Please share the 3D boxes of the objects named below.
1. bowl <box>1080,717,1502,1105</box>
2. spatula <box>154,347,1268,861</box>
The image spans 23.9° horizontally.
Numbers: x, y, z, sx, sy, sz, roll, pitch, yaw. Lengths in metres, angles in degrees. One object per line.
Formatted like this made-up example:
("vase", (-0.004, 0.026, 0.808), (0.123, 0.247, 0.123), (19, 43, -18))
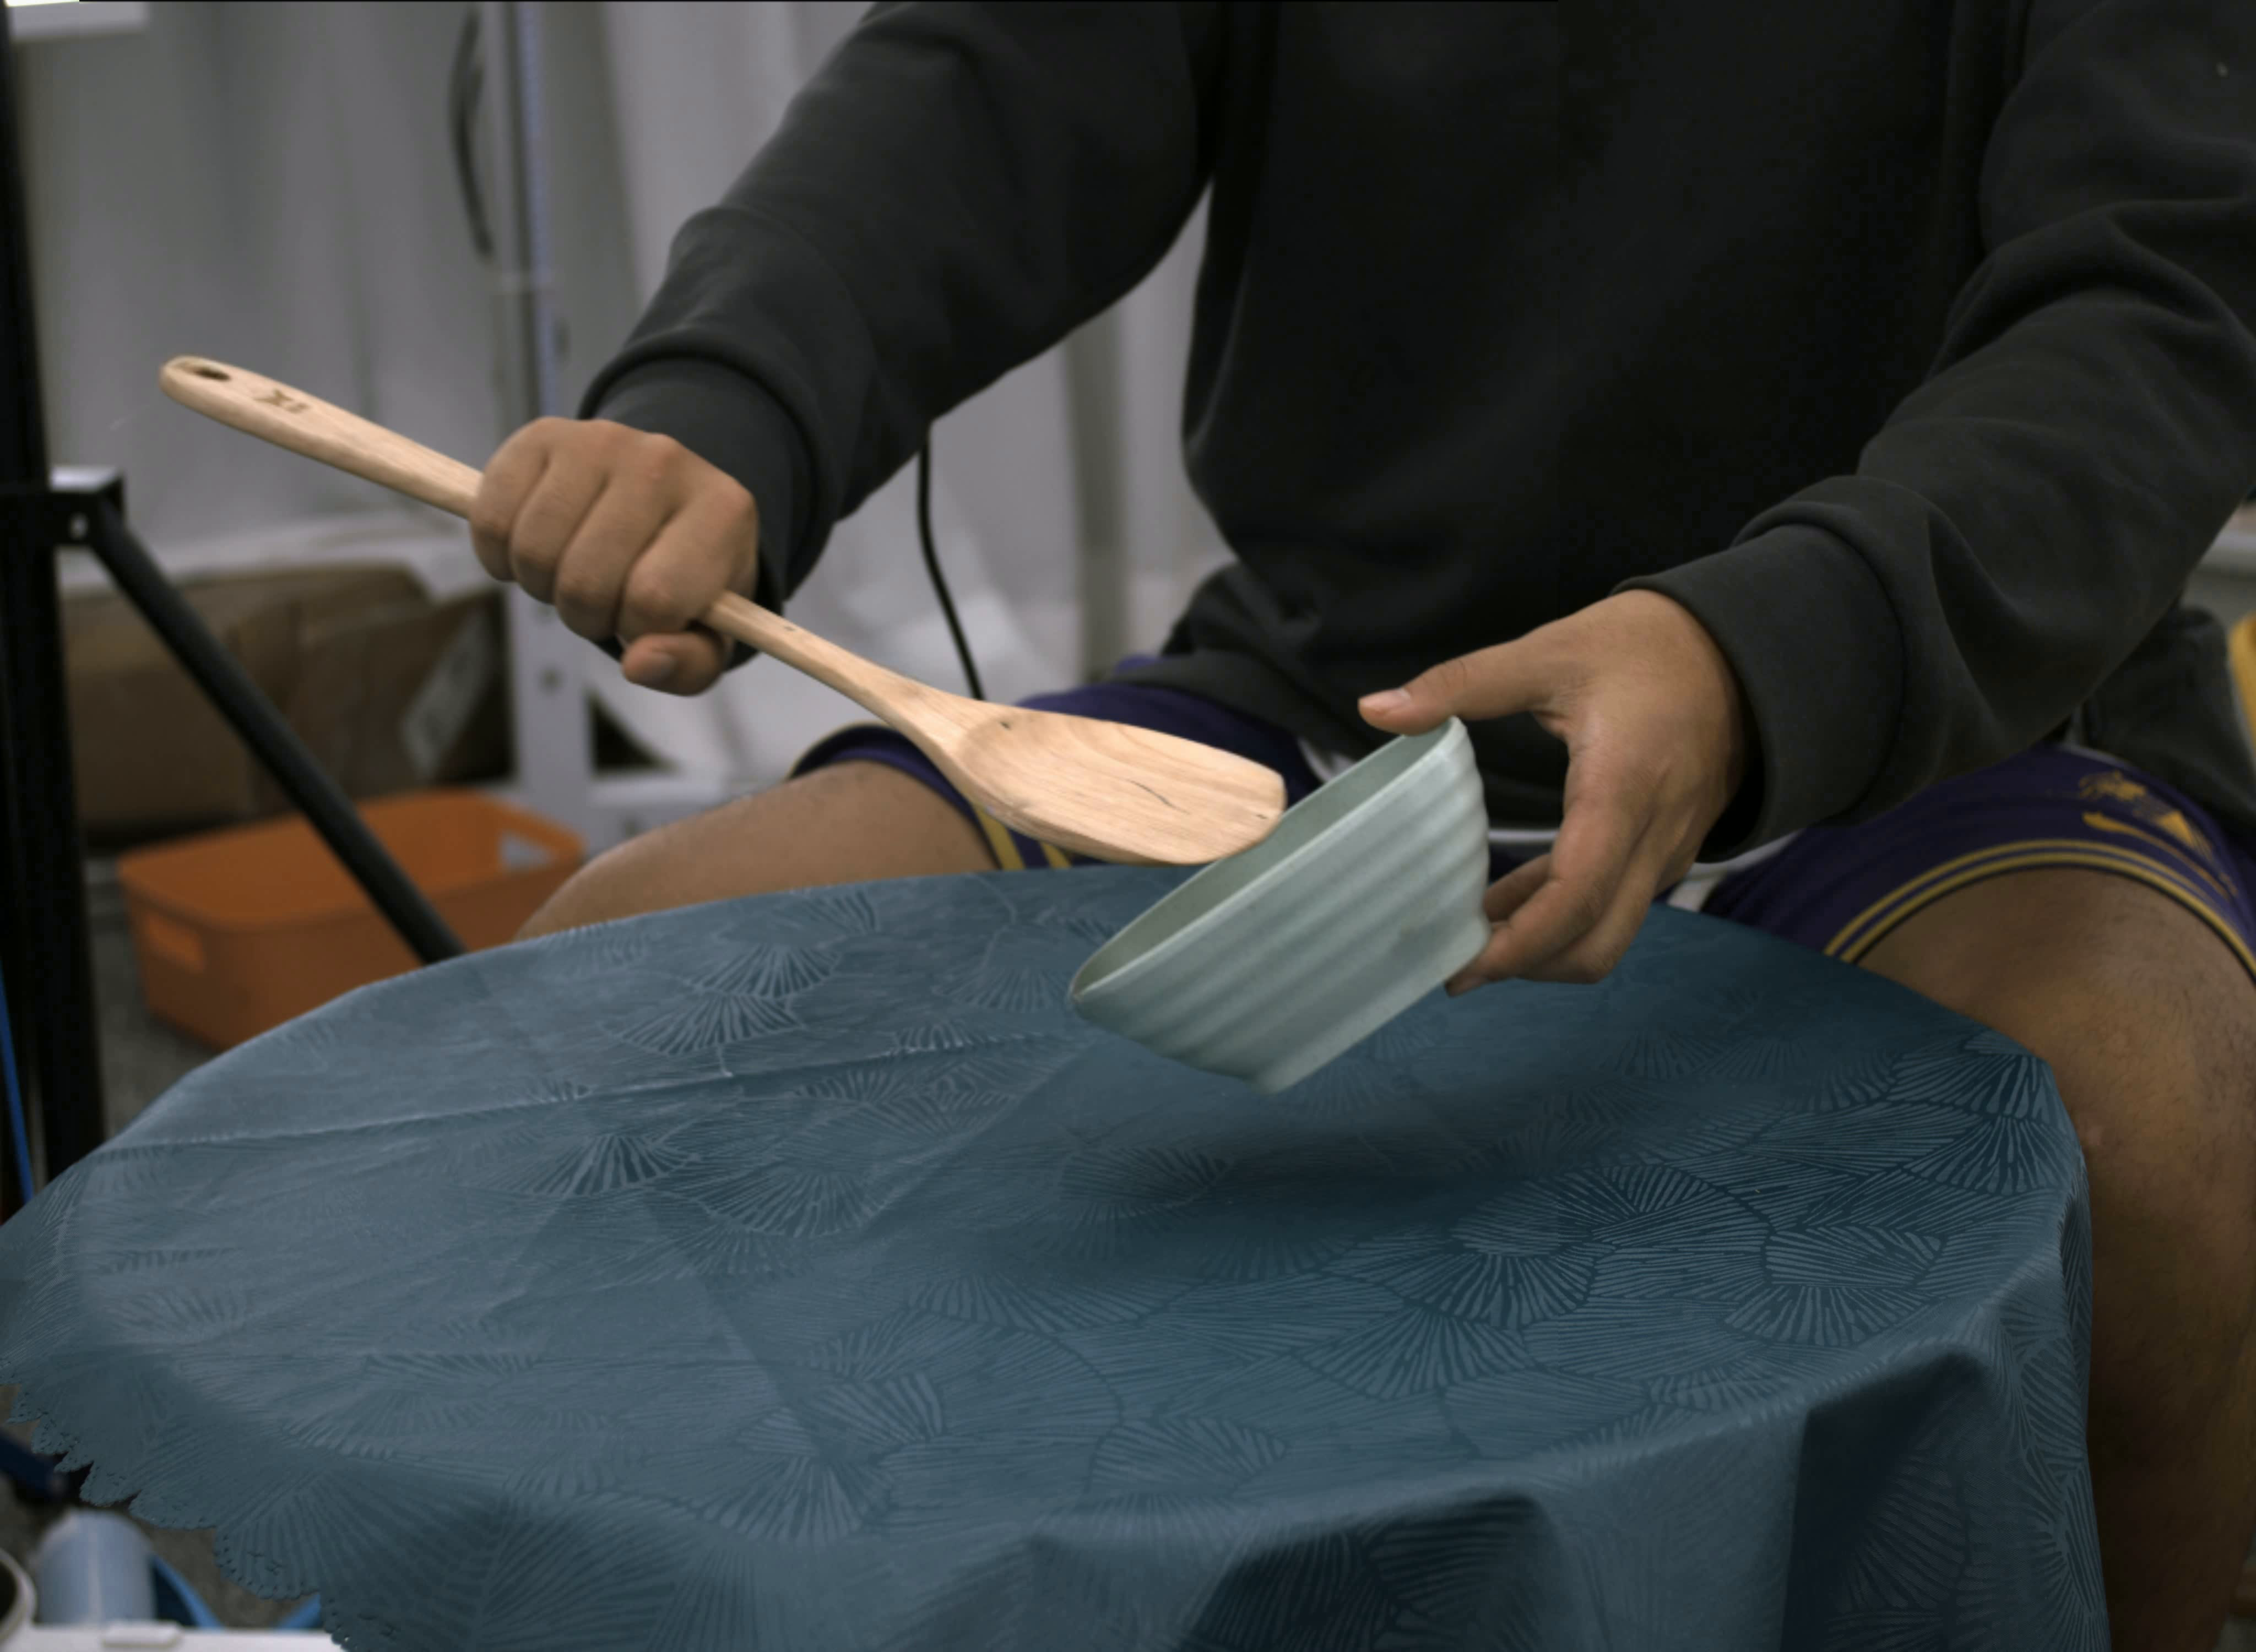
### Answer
("bowl", (0.058, 0.032, 1.551), (0.151, 0.058, 0.152), (-35, 7, 3))
("spatula", (-0.136, -0.070, 1.606), (0.396, 0.018, 0.094), (25, 24, 20))
